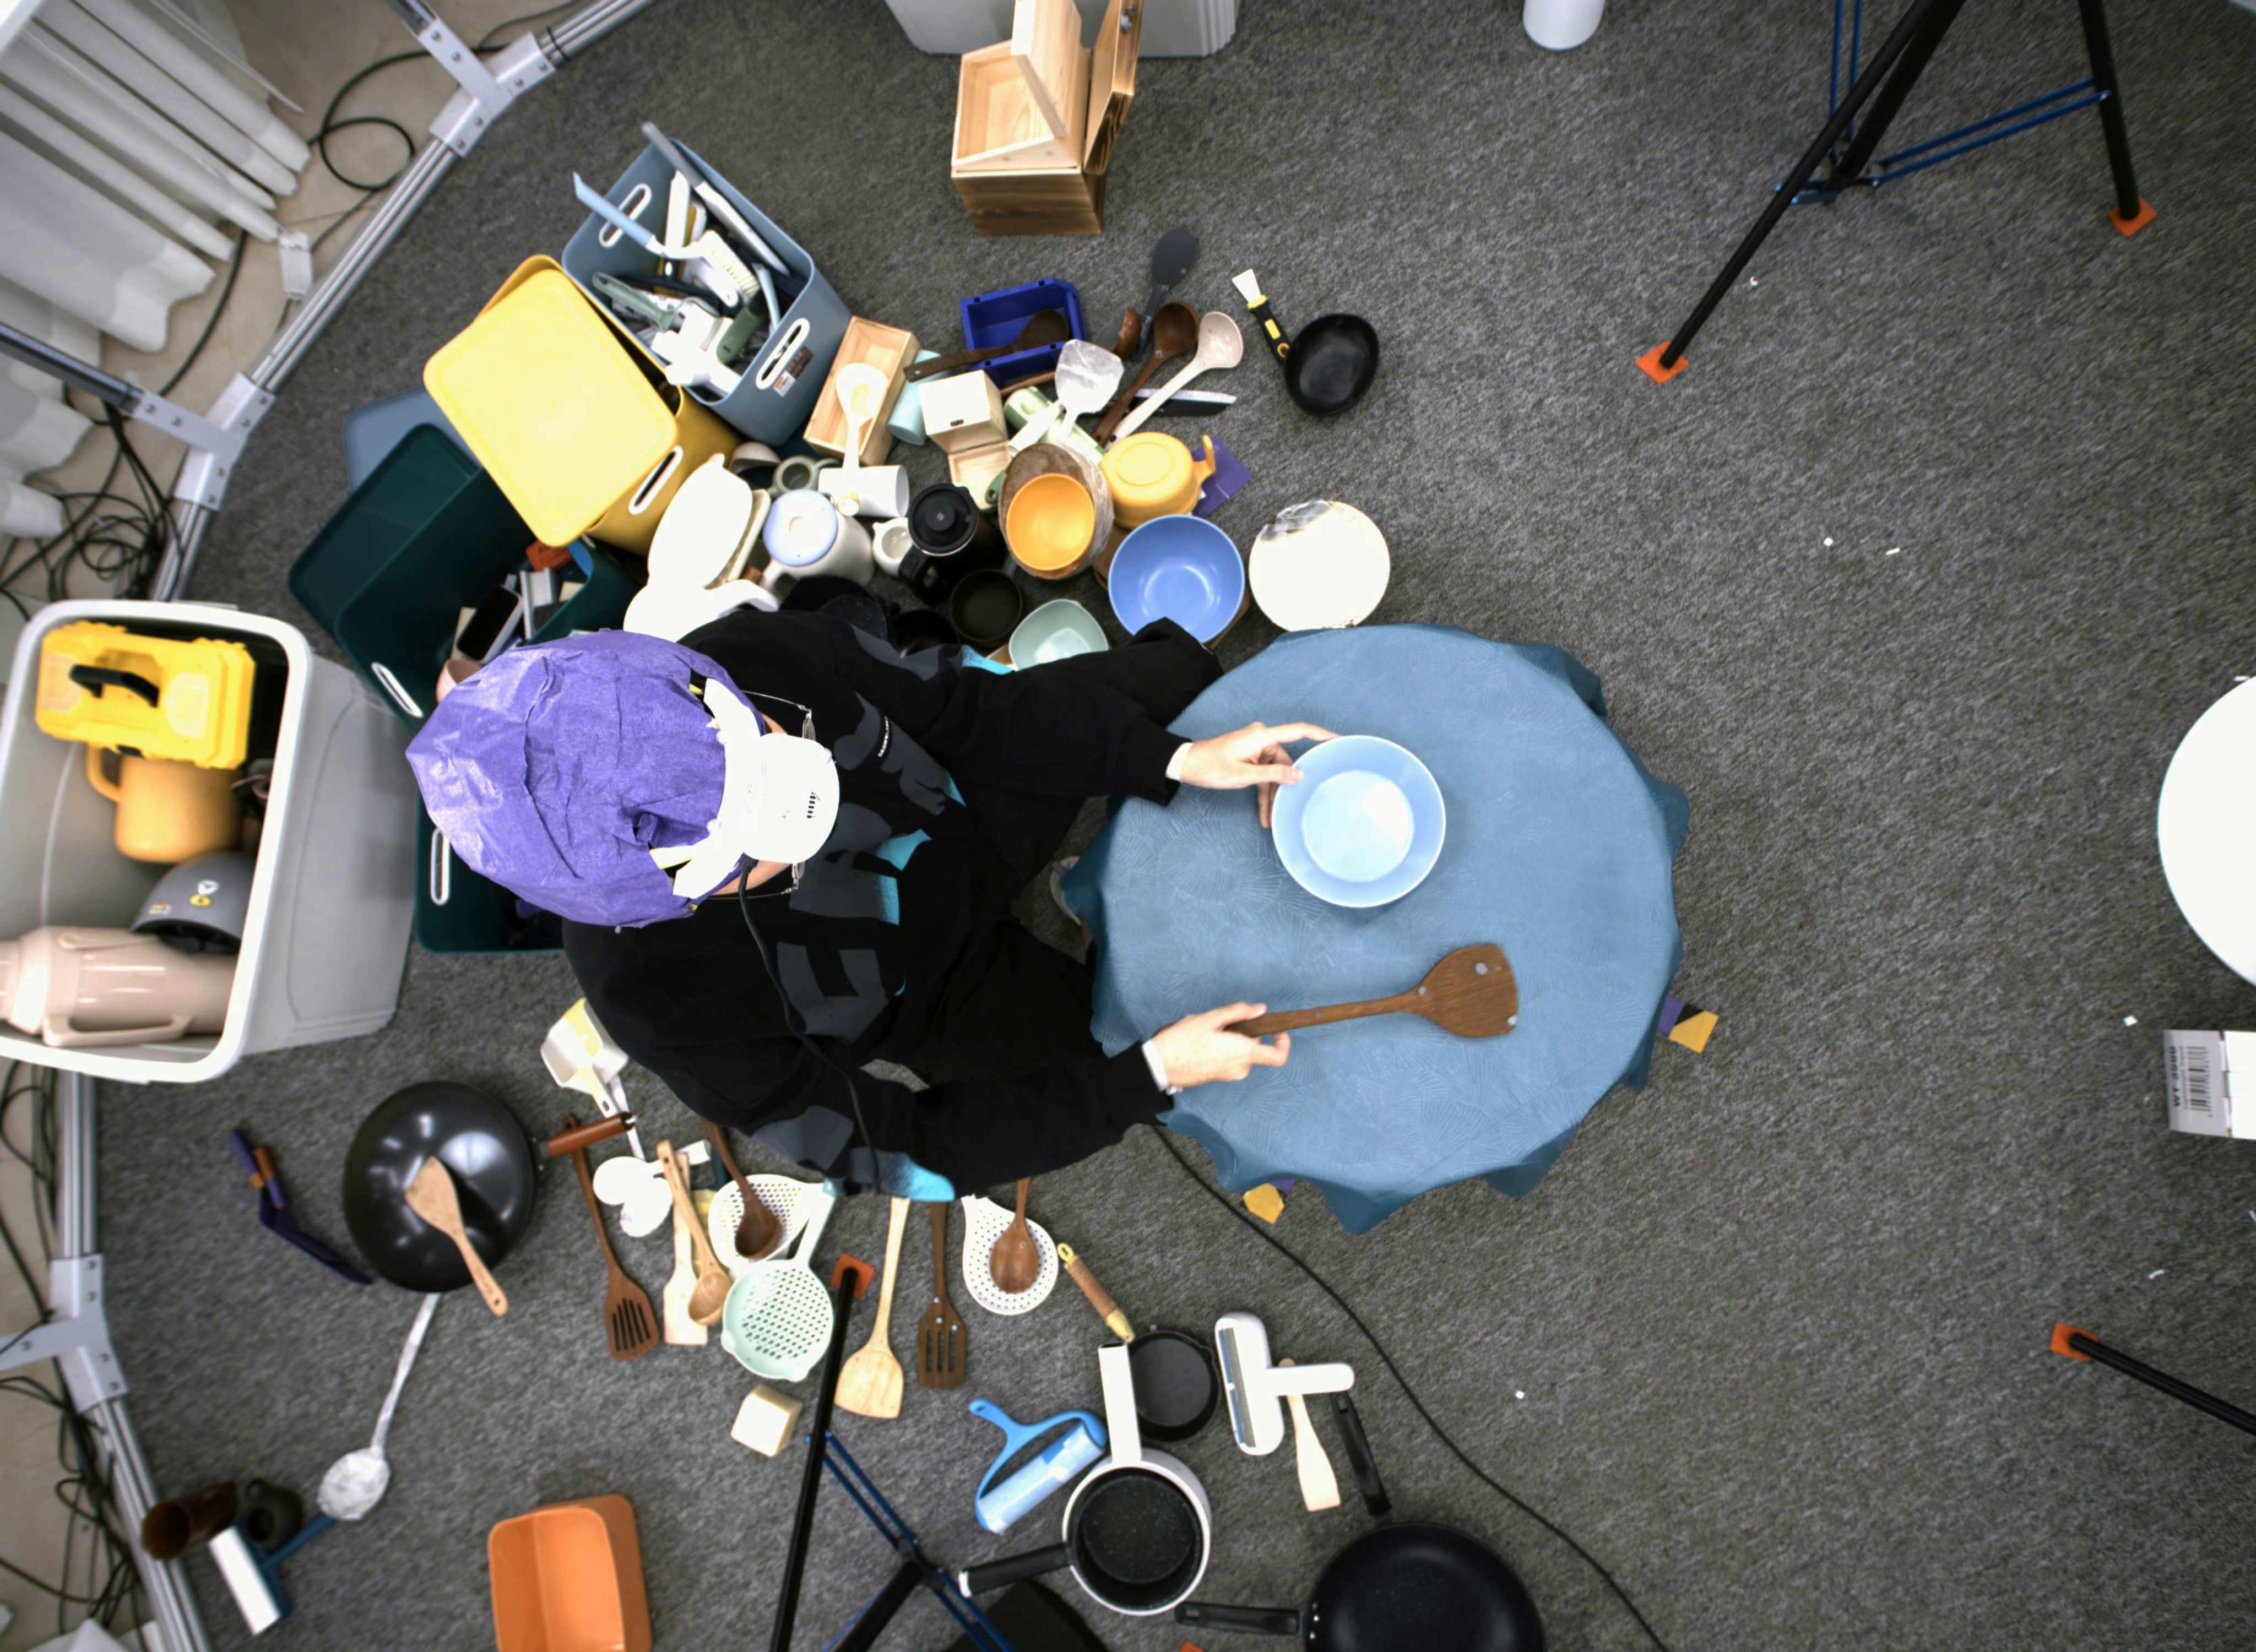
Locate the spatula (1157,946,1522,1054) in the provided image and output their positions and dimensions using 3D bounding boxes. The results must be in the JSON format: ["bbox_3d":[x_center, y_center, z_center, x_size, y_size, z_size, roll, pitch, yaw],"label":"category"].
[{"bbox_3d":[0.218,0.190,1.406,0.385,0.016,0.095,-7,81,-9],"label":"spatula"}]

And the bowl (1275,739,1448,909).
[{"bbox_3d":[0.243,-0.001,1.439,0.177,0.070,0.175,-1,86,11],"label":"bowl"}]
